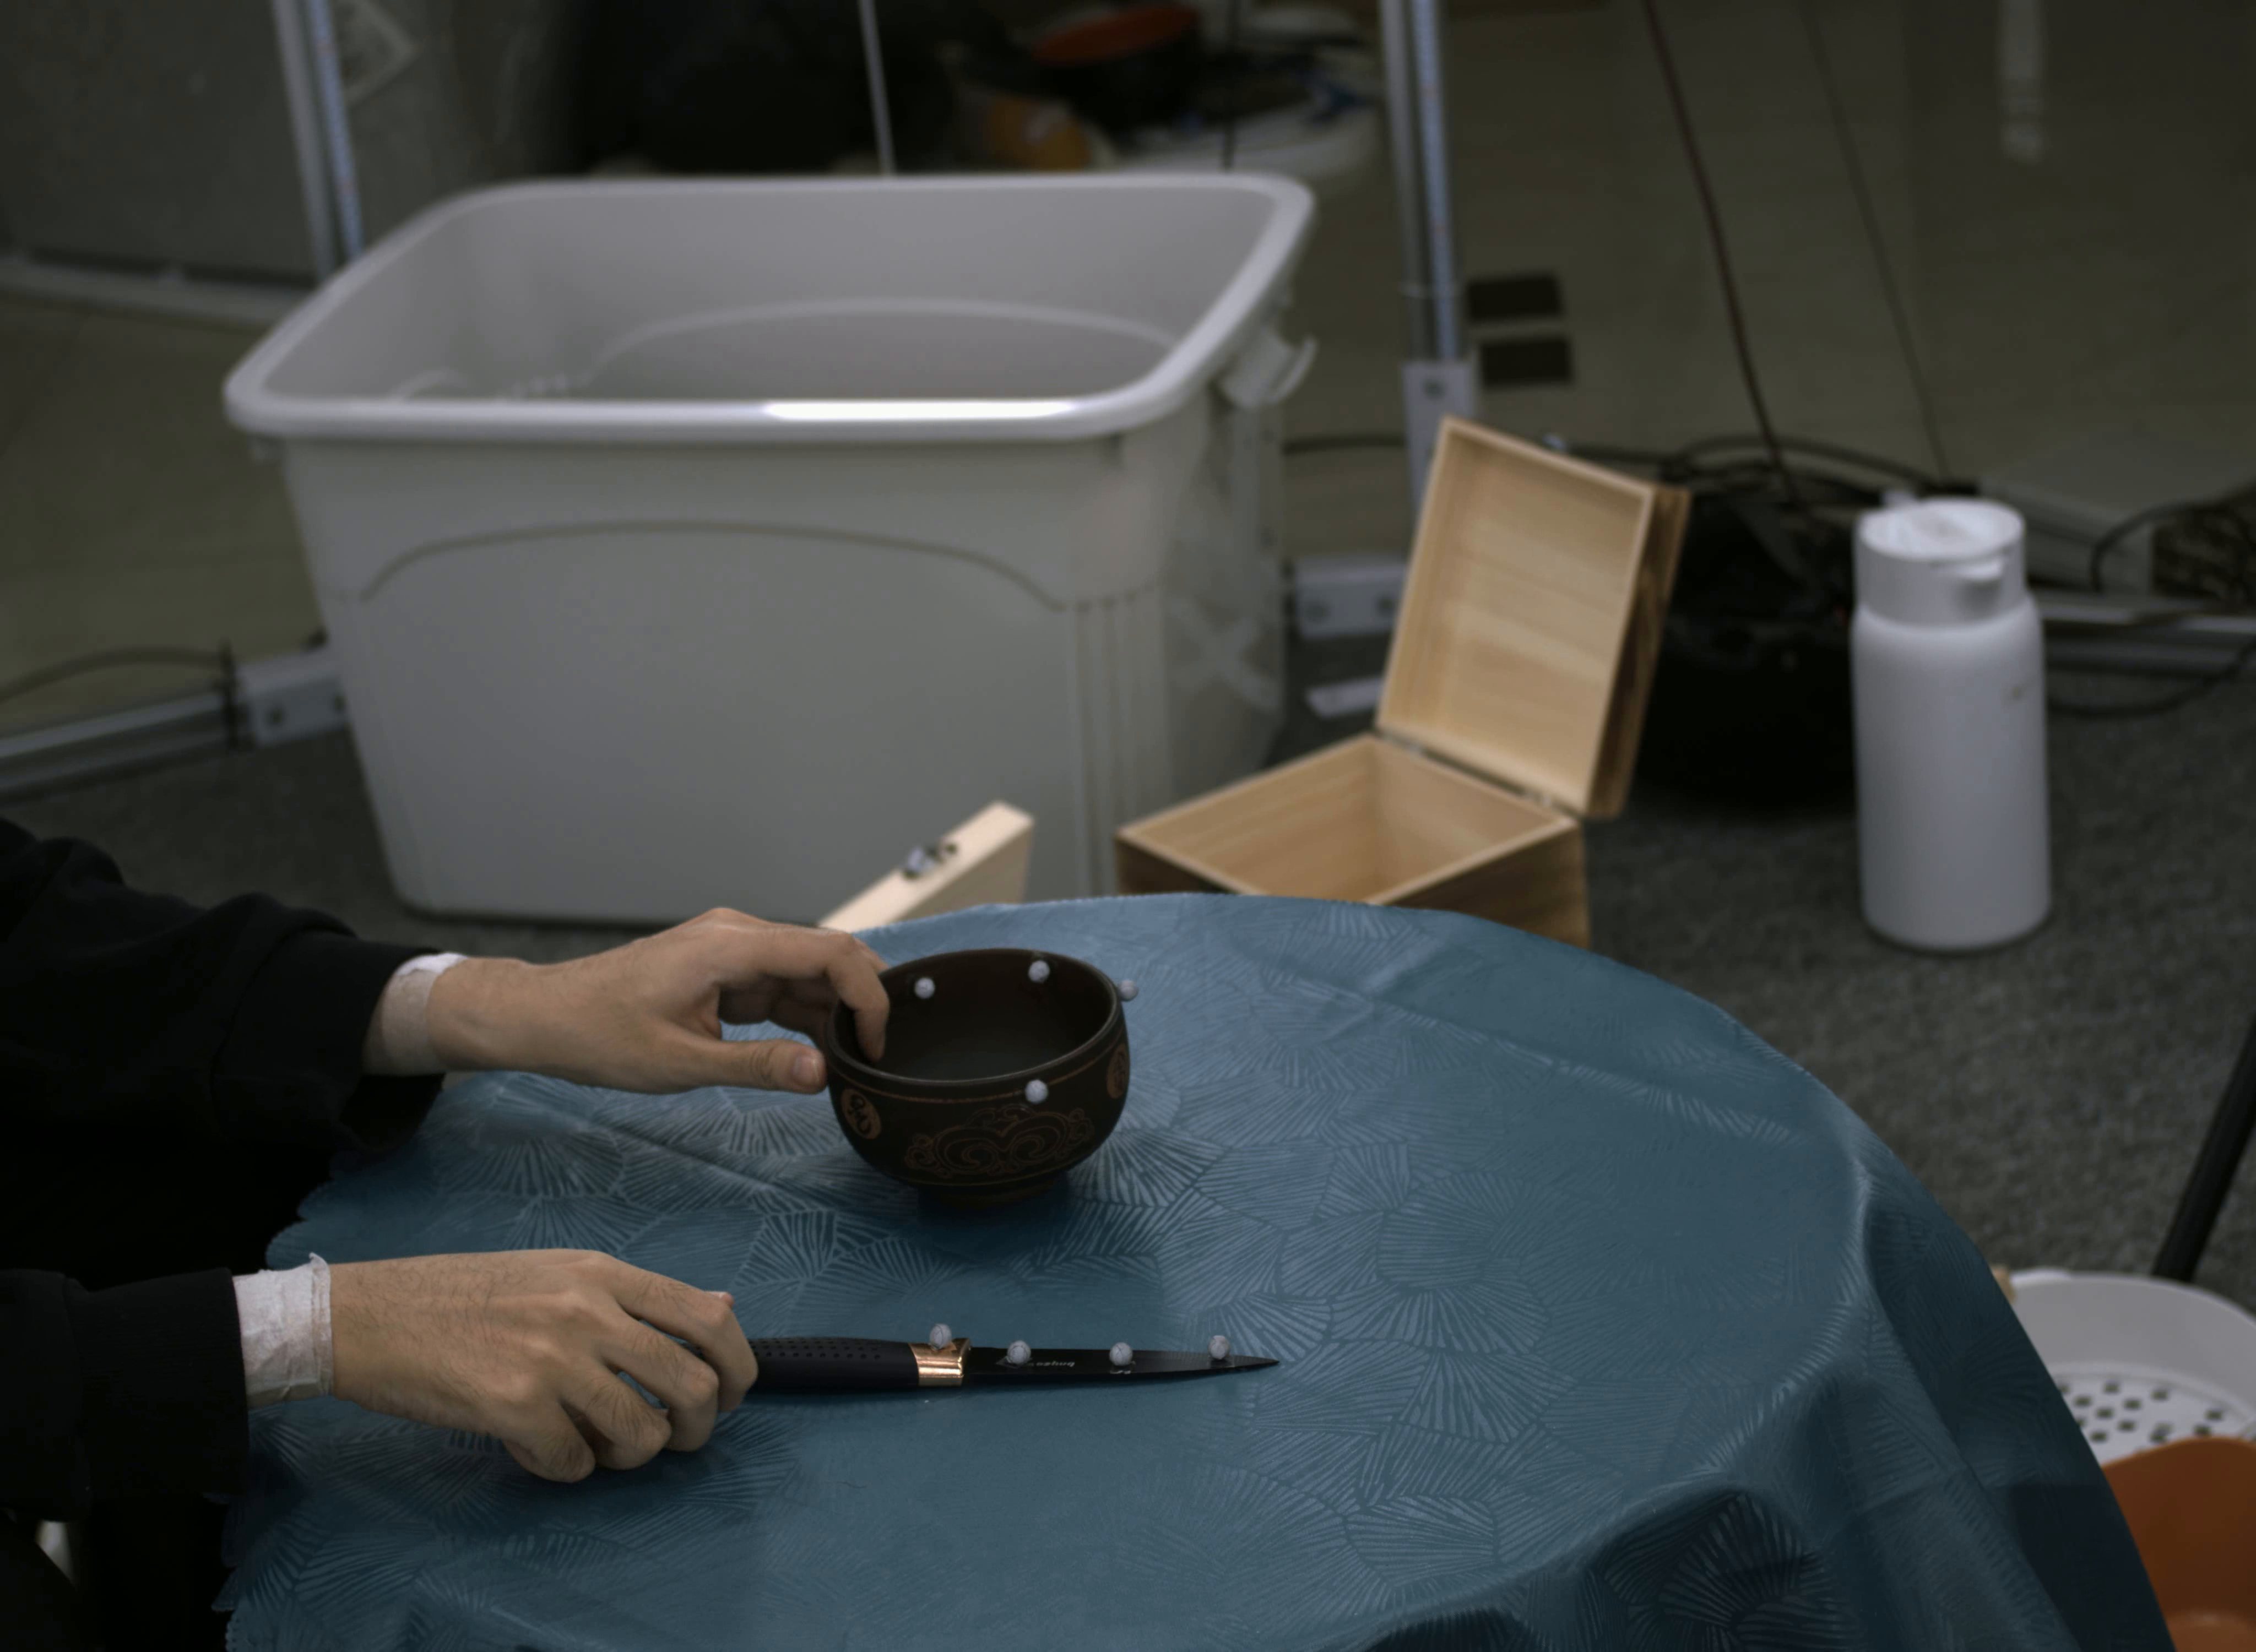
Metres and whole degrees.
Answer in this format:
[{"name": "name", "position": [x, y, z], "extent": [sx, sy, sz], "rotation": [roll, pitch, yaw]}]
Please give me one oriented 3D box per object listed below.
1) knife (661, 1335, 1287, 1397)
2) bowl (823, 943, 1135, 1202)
[{"name": "knife", "position": [-0.055, 0.192, 2.035], "extent": [0.225, 0.017, 0.026], "rotation": [-3, 18, 5]}, {"name": "bowl", "position": [-0.054, 0.100, 2.154], "extent": [0.118, 0.071, 0.116], "rotation": [-7, 24, 3]}]
